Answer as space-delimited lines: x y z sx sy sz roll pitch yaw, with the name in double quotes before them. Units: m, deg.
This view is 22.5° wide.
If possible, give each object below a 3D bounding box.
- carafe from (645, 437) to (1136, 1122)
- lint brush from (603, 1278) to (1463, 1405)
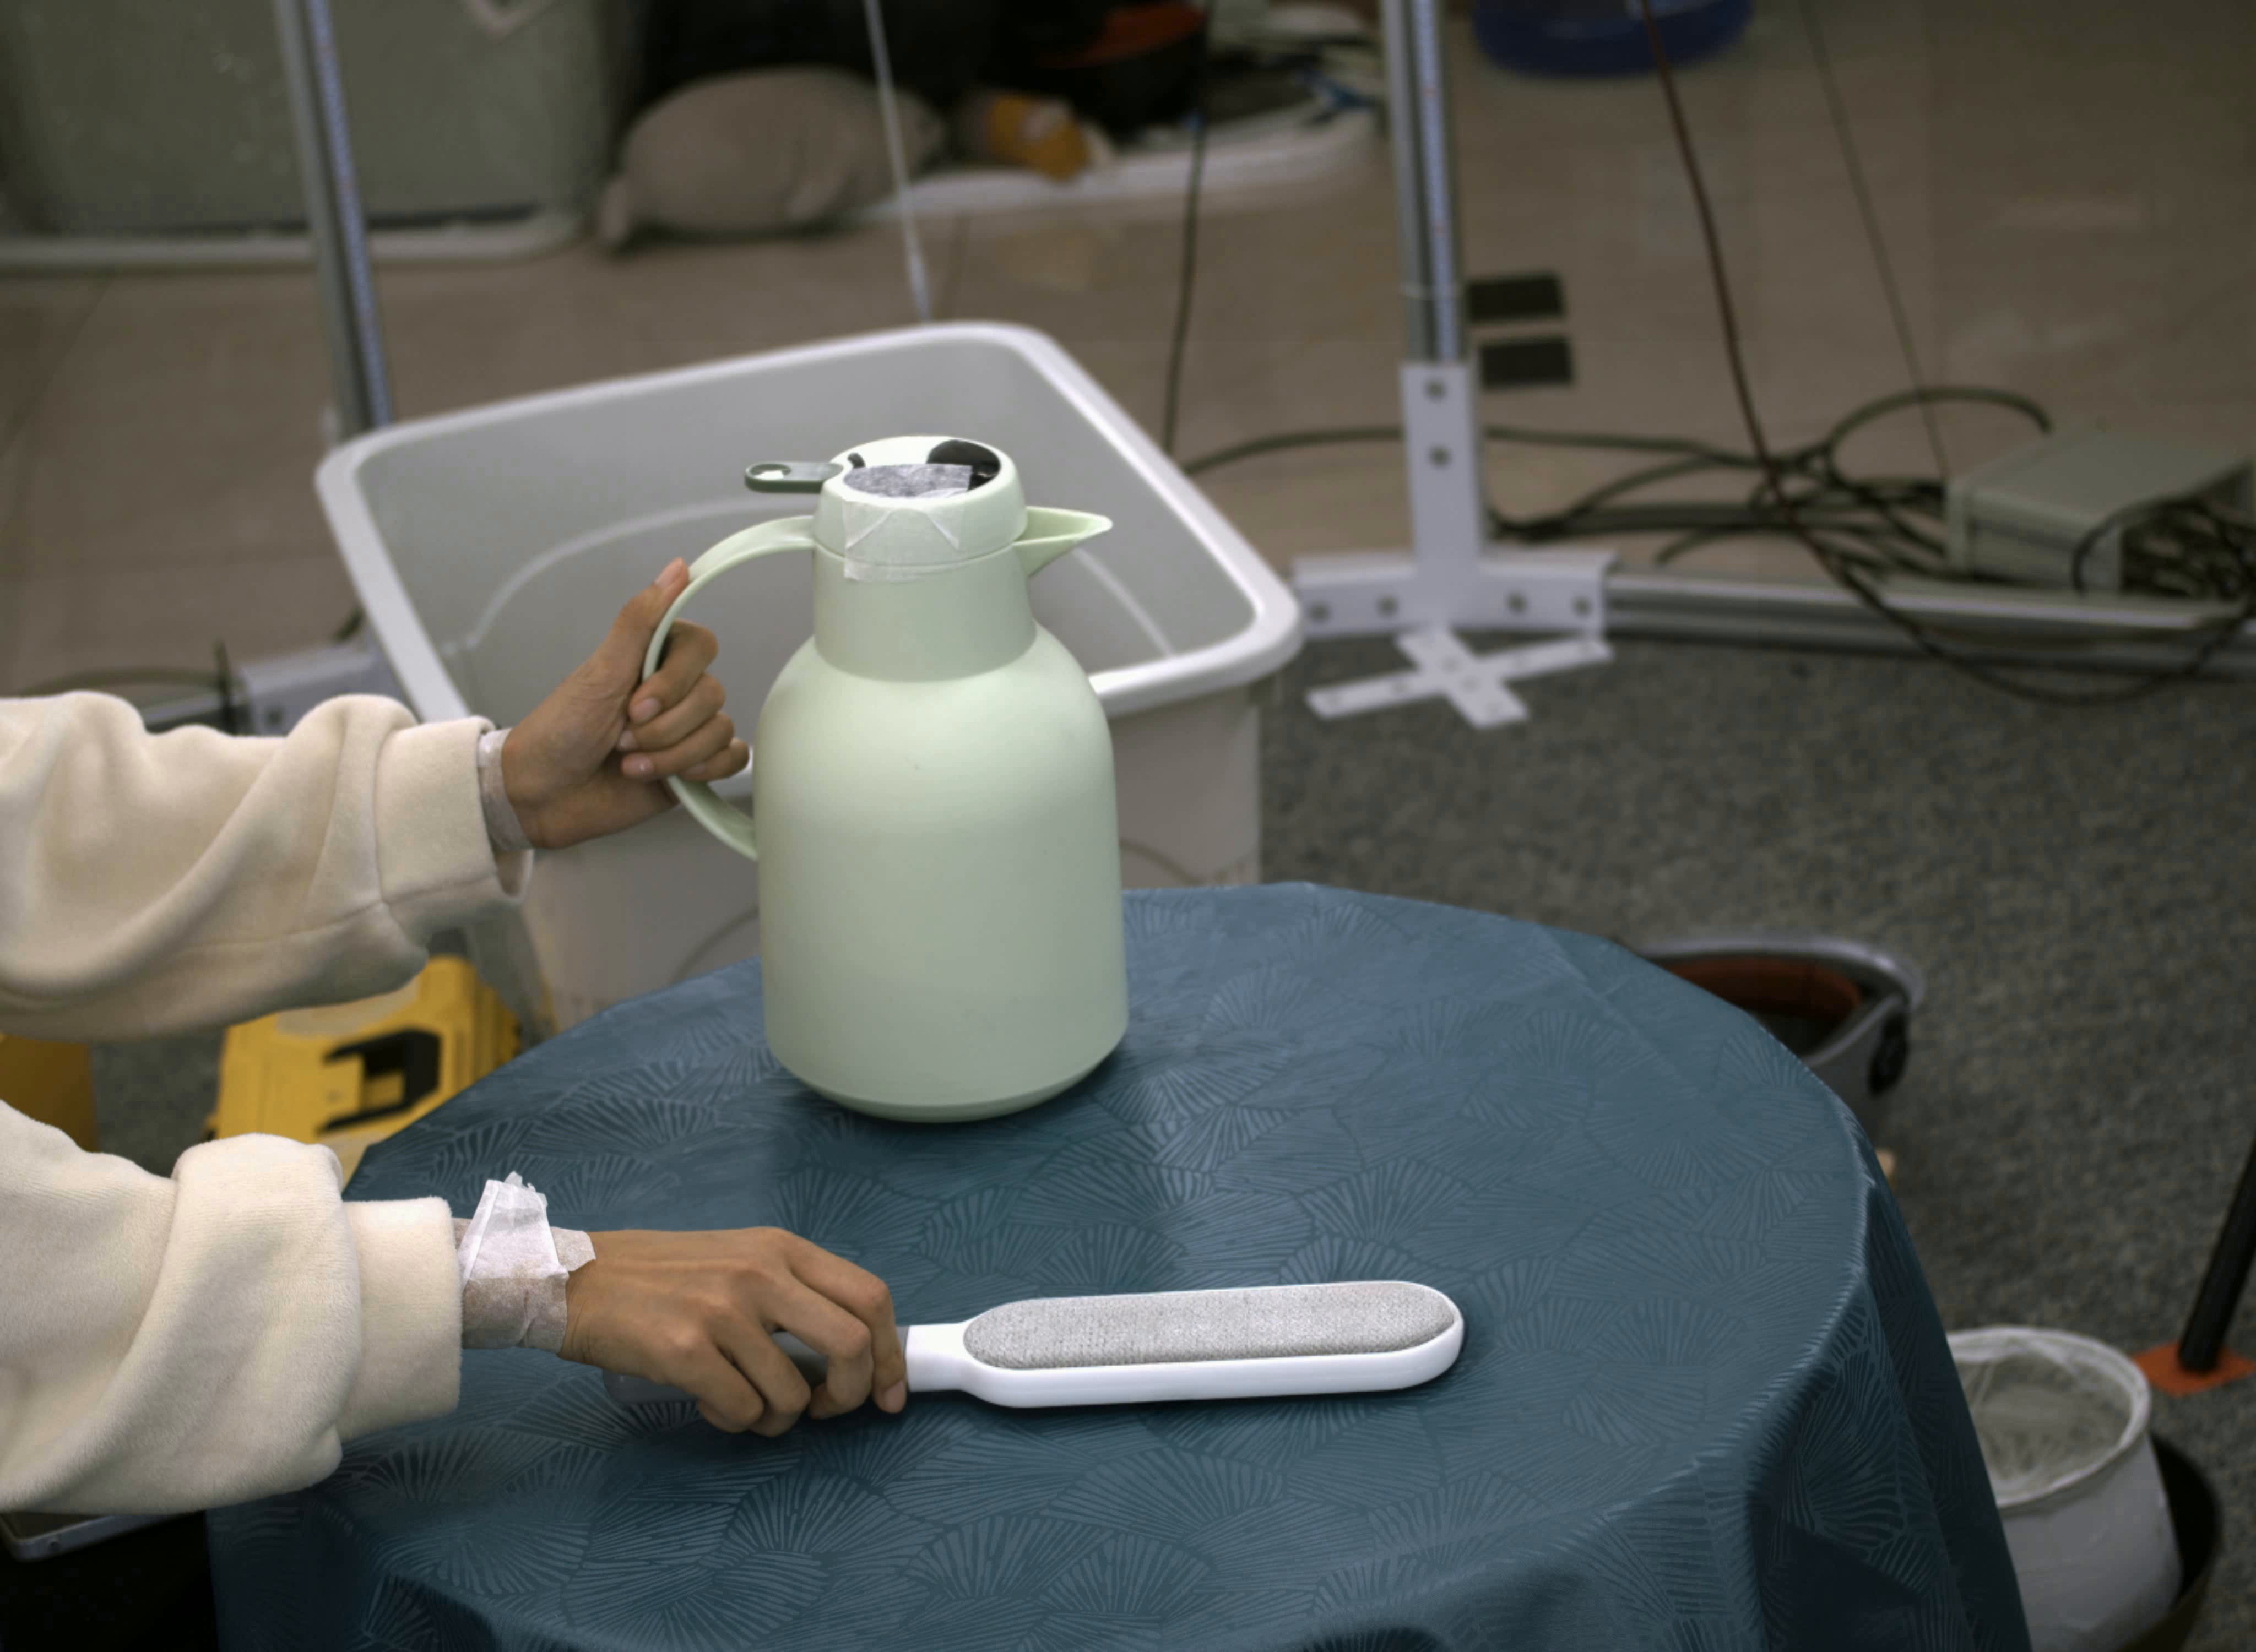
"carafe" -0.089 -0.022 2.206 0.186 0.261 0.142 -4 28 4
"lint brush" -0.035 0.186 2.022 0.308 0.021 0.059 -3 26 5
